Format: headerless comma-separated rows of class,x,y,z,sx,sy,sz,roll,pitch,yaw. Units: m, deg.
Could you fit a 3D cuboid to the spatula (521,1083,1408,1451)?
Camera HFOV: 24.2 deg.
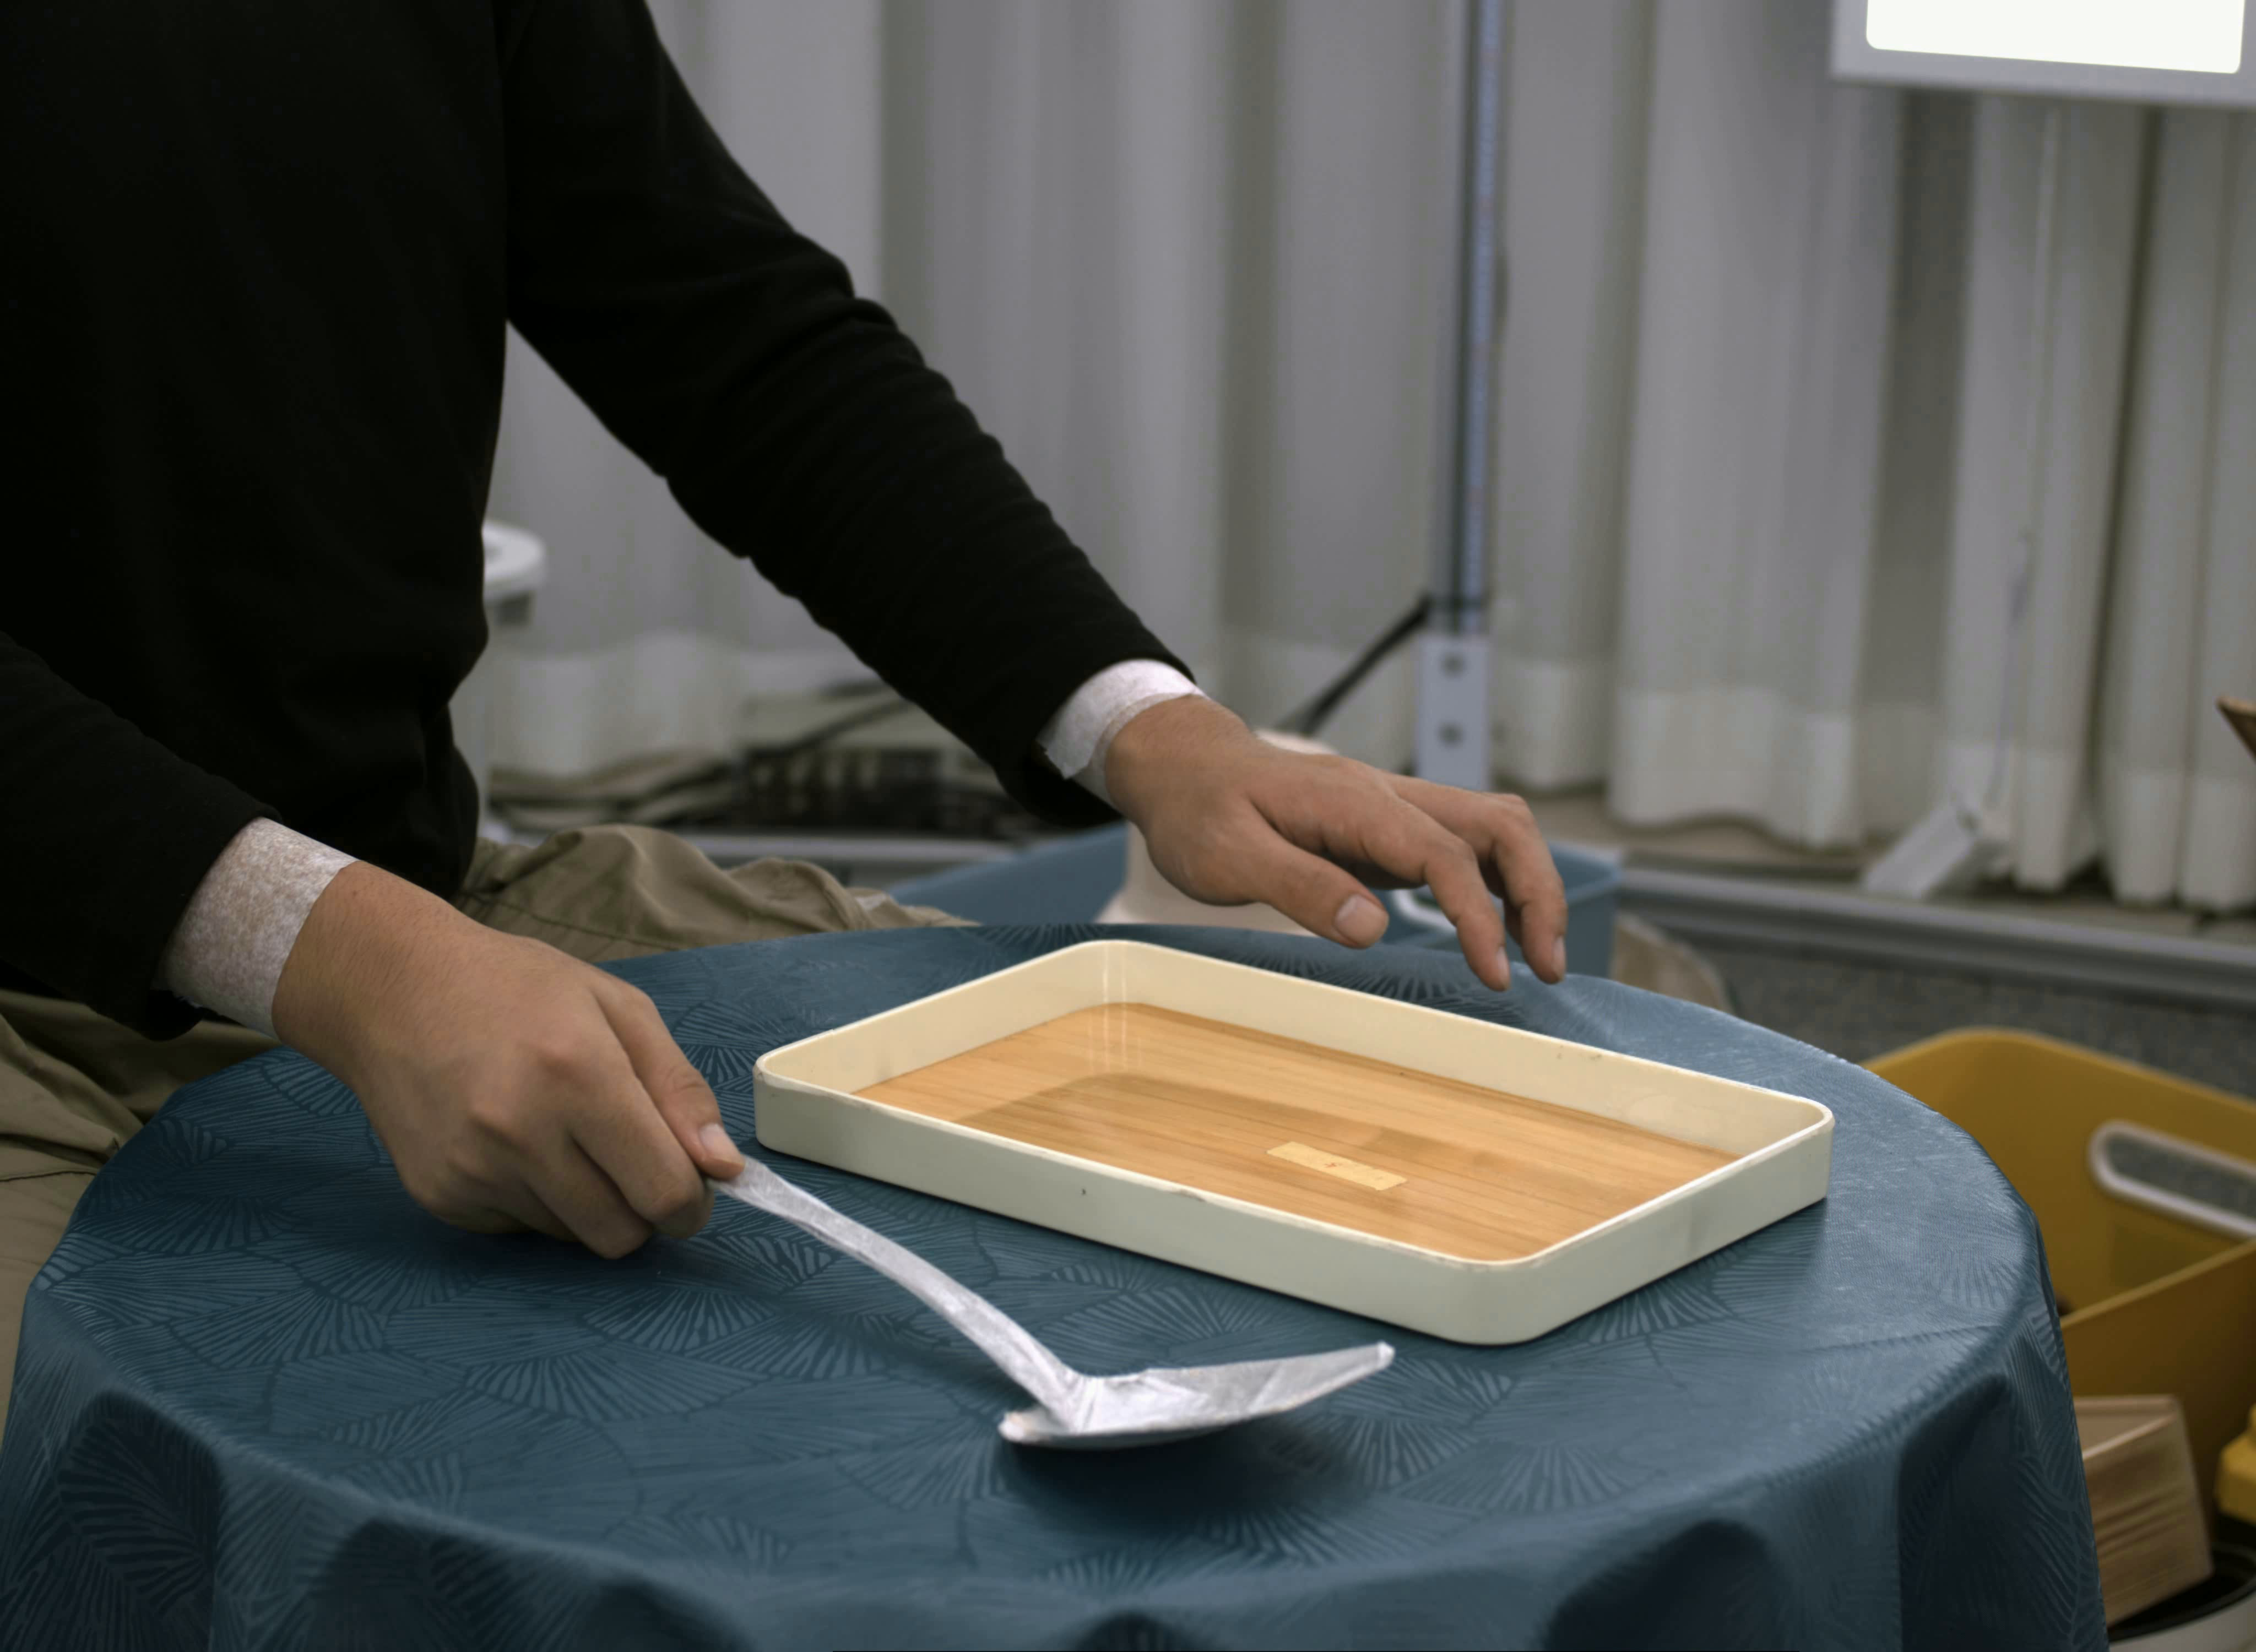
spatula,-0.071,0.116,1.500,0.099,0.045,0.360,-13,26,-40

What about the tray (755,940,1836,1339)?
tray,0.050,0.093,1.640,0.296,0.027,0.192,12,20,37
